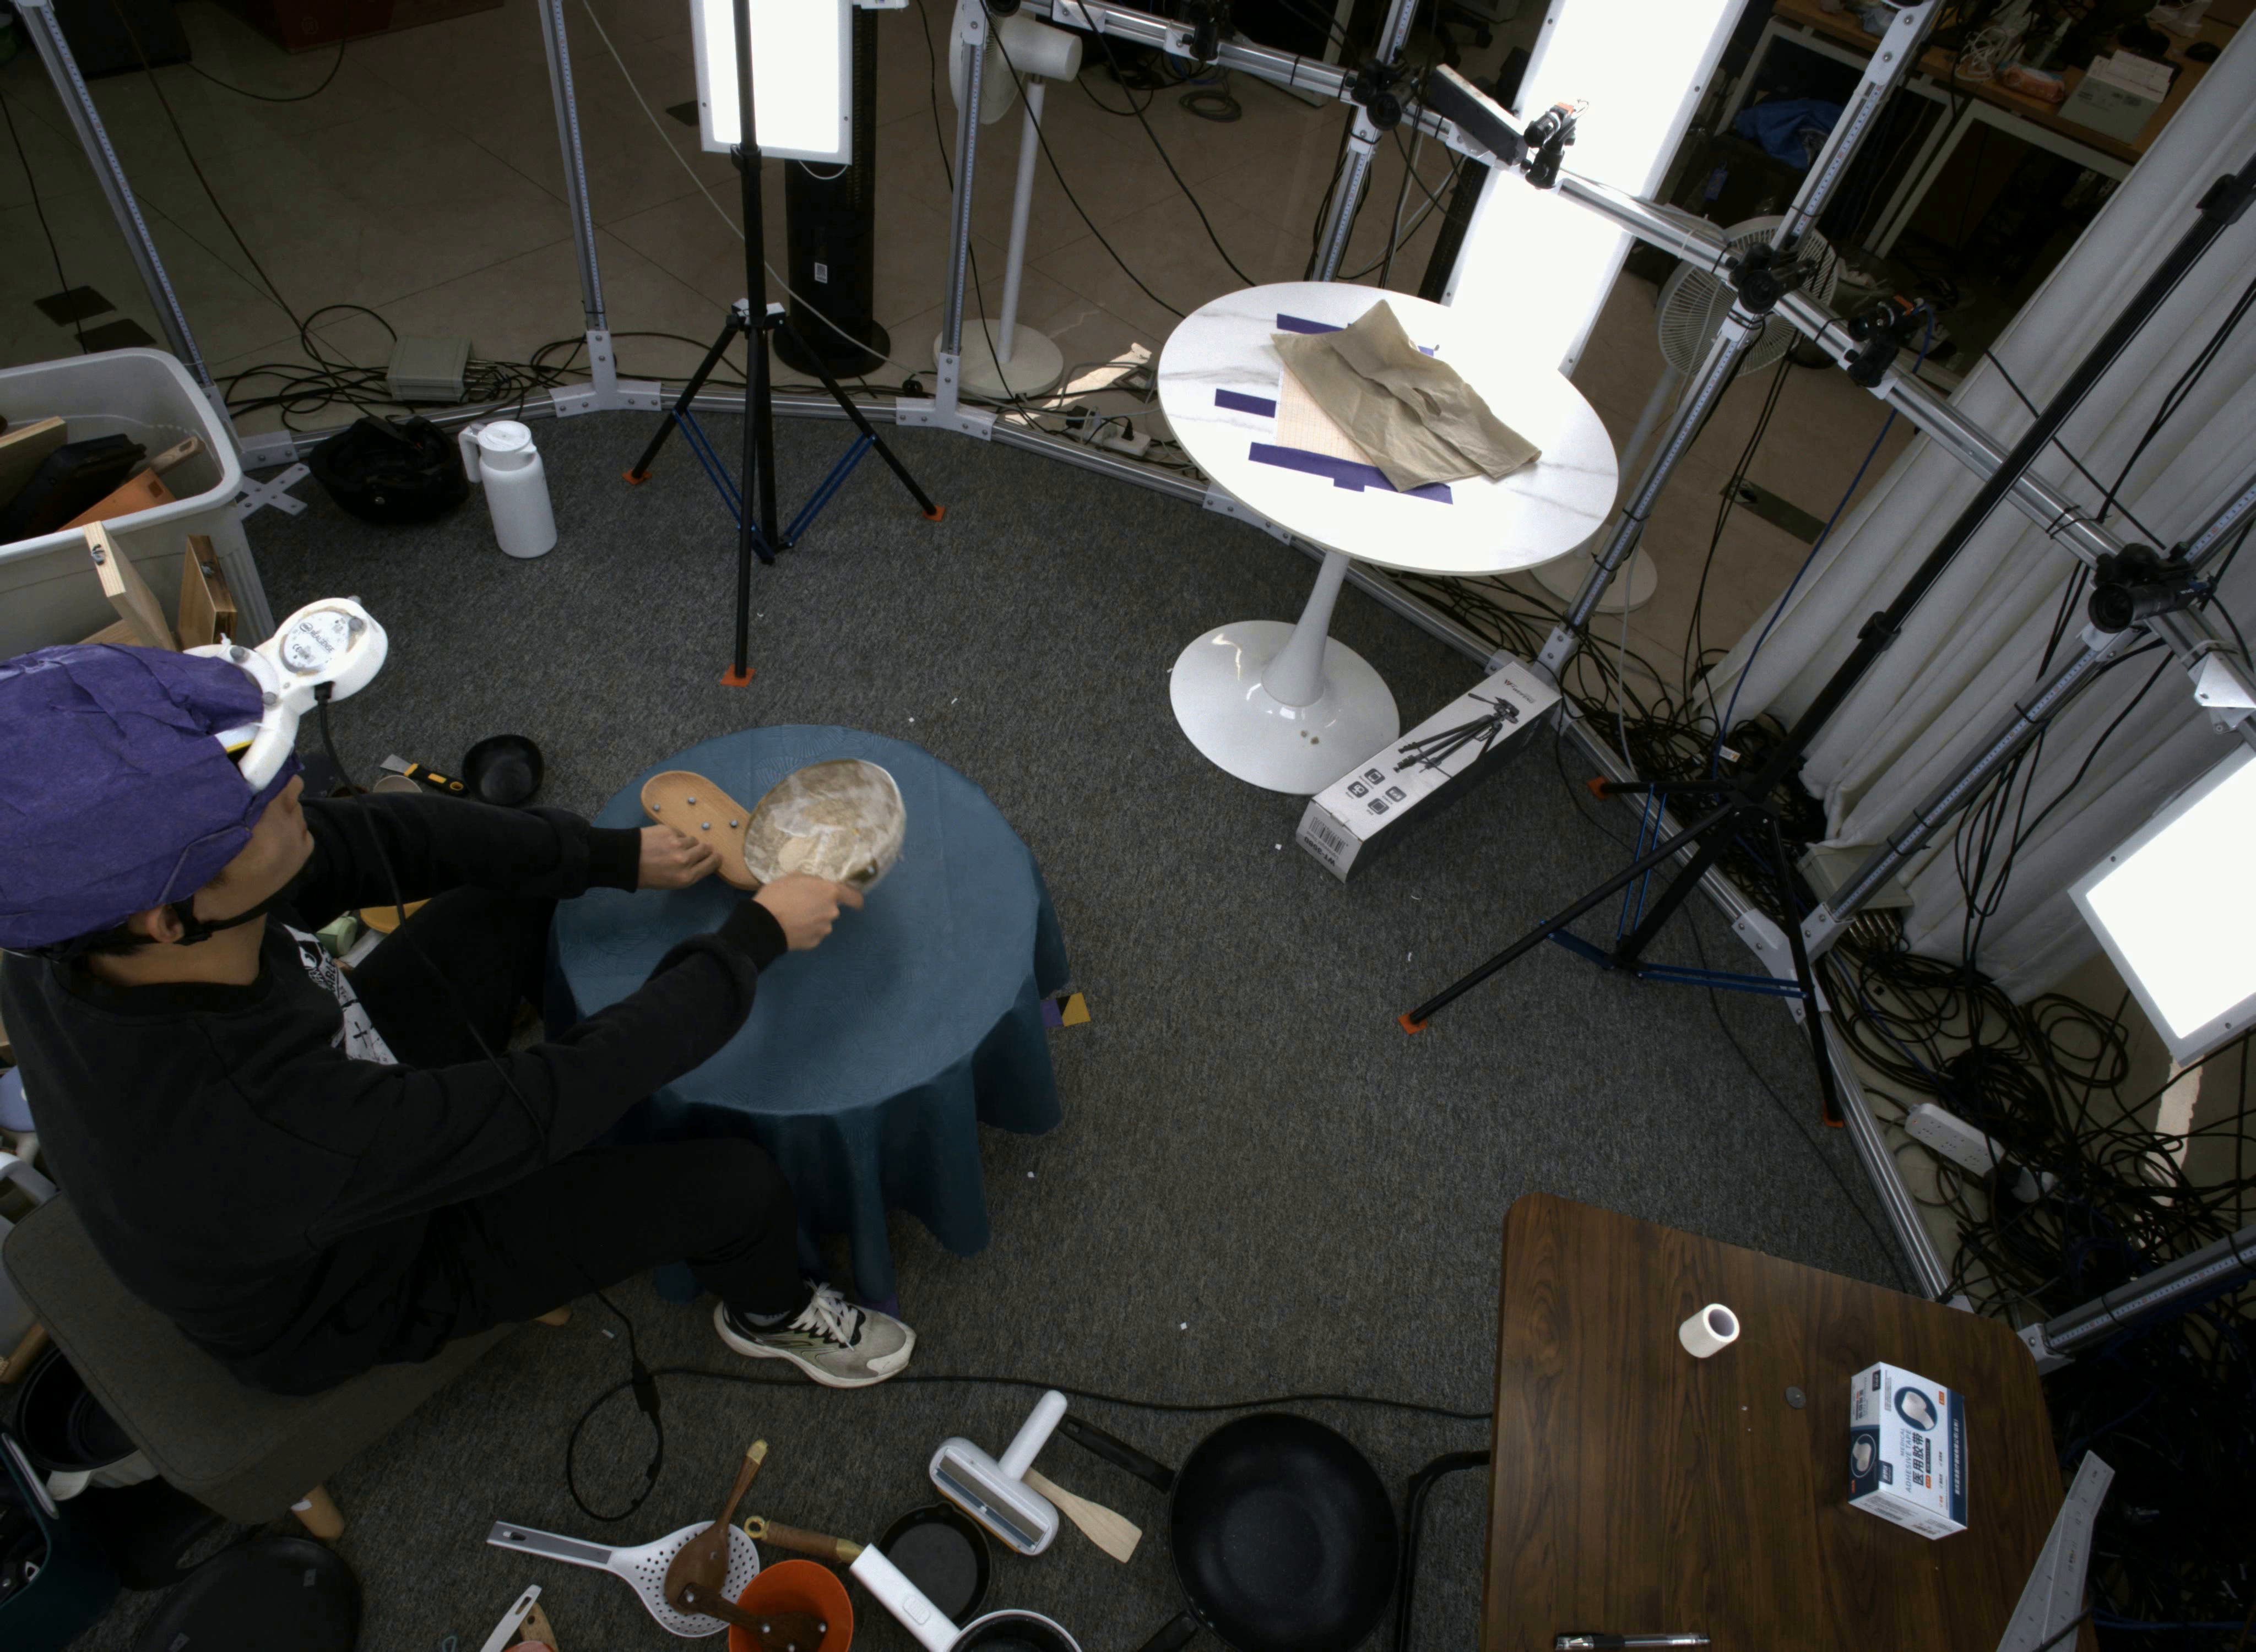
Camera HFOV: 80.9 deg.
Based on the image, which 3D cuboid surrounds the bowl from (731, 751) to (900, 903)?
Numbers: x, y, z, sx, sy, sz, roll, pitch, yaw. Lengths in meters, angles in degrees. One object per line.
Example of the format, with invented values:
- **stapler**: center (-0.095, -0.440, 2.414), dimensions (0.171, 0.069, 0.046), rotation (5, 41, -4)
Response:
- **bowl**: center (-0.366, 0.015, 1.579), dimensions (0.210, 0.098, 0.211), rotation (-8, 53, 12)

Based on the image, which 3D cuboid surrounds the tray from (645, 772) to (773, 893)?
- **tray**: center (-0.524, 0.006, 1.655), dimensions (0.227, 0.020, 0.102), rotation (38, 44, 11)
